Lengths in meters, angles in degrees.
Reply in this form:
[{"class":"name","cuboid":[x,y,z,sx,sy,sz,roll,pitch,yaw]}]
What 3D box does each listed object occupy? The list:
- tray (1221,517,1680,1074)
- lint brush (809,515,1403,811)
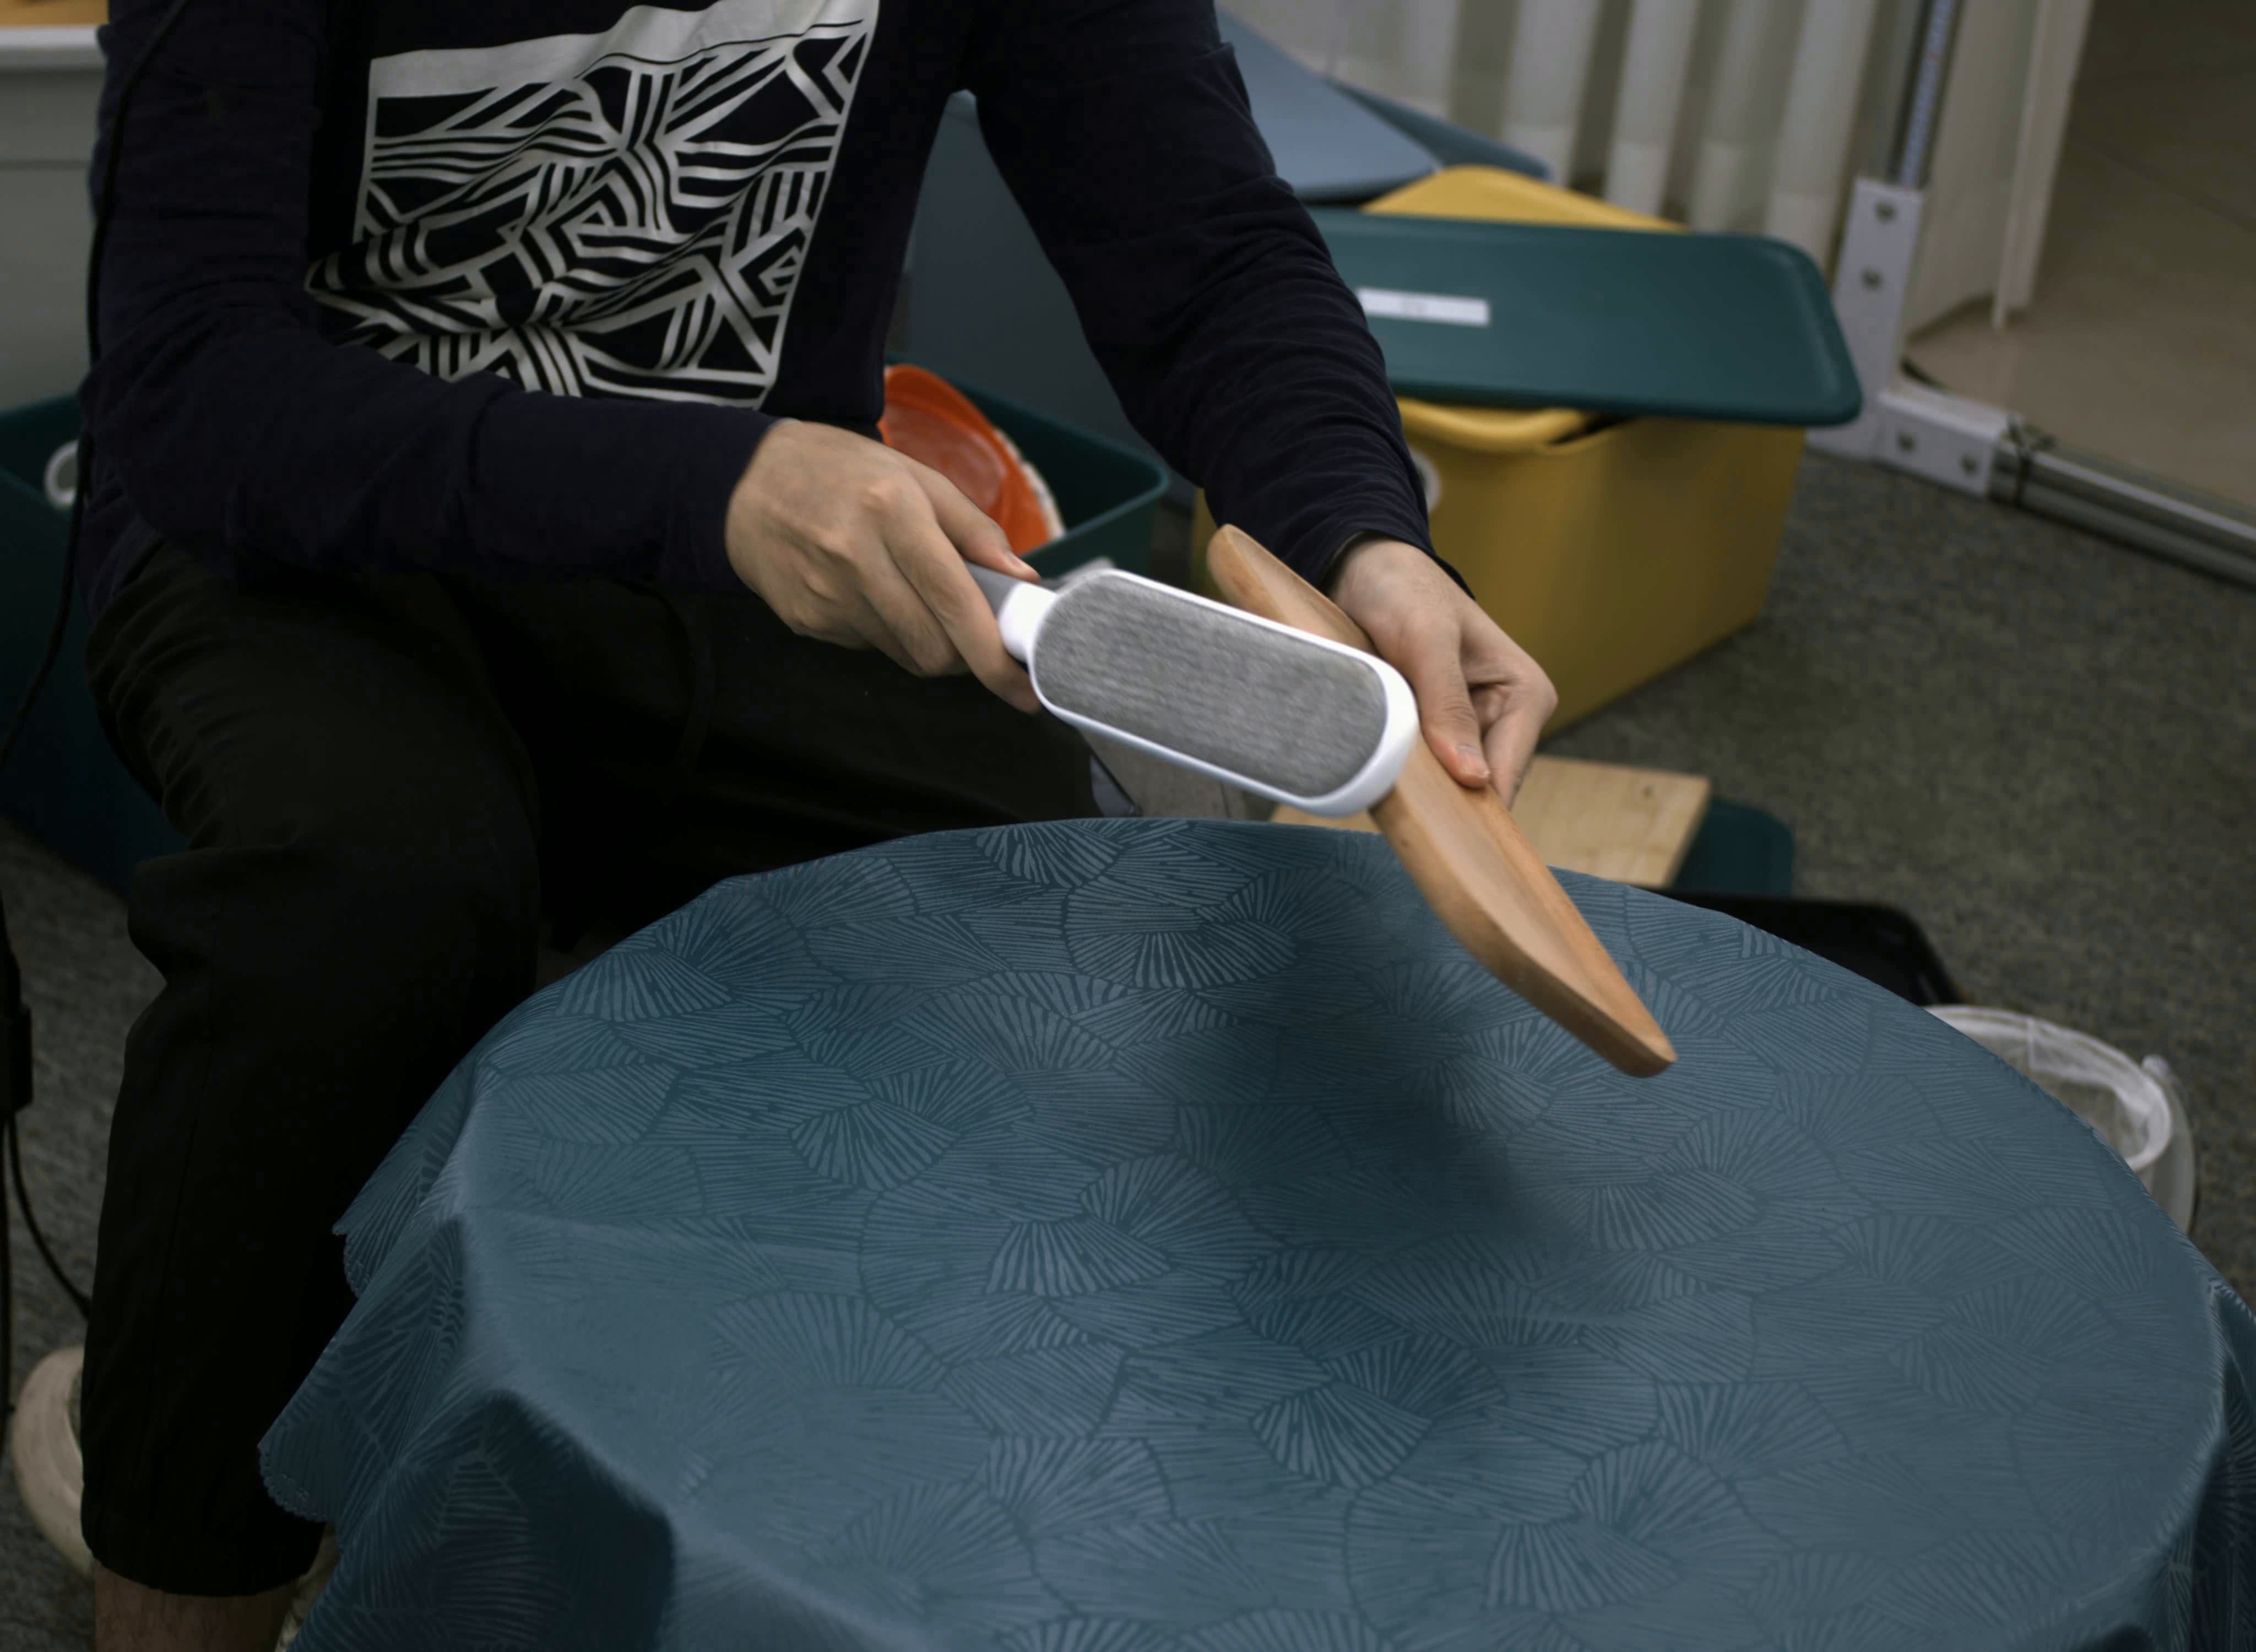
[{"class":"tray","cuboid":[0.108,-0.011,1.838,0.129,0.023,0.253,40,12,-39]},{"class":"lint brush","cuboid":[-0.014,-0.066,1.865,0.021,0.060,0.311,20,1,-44]}]
